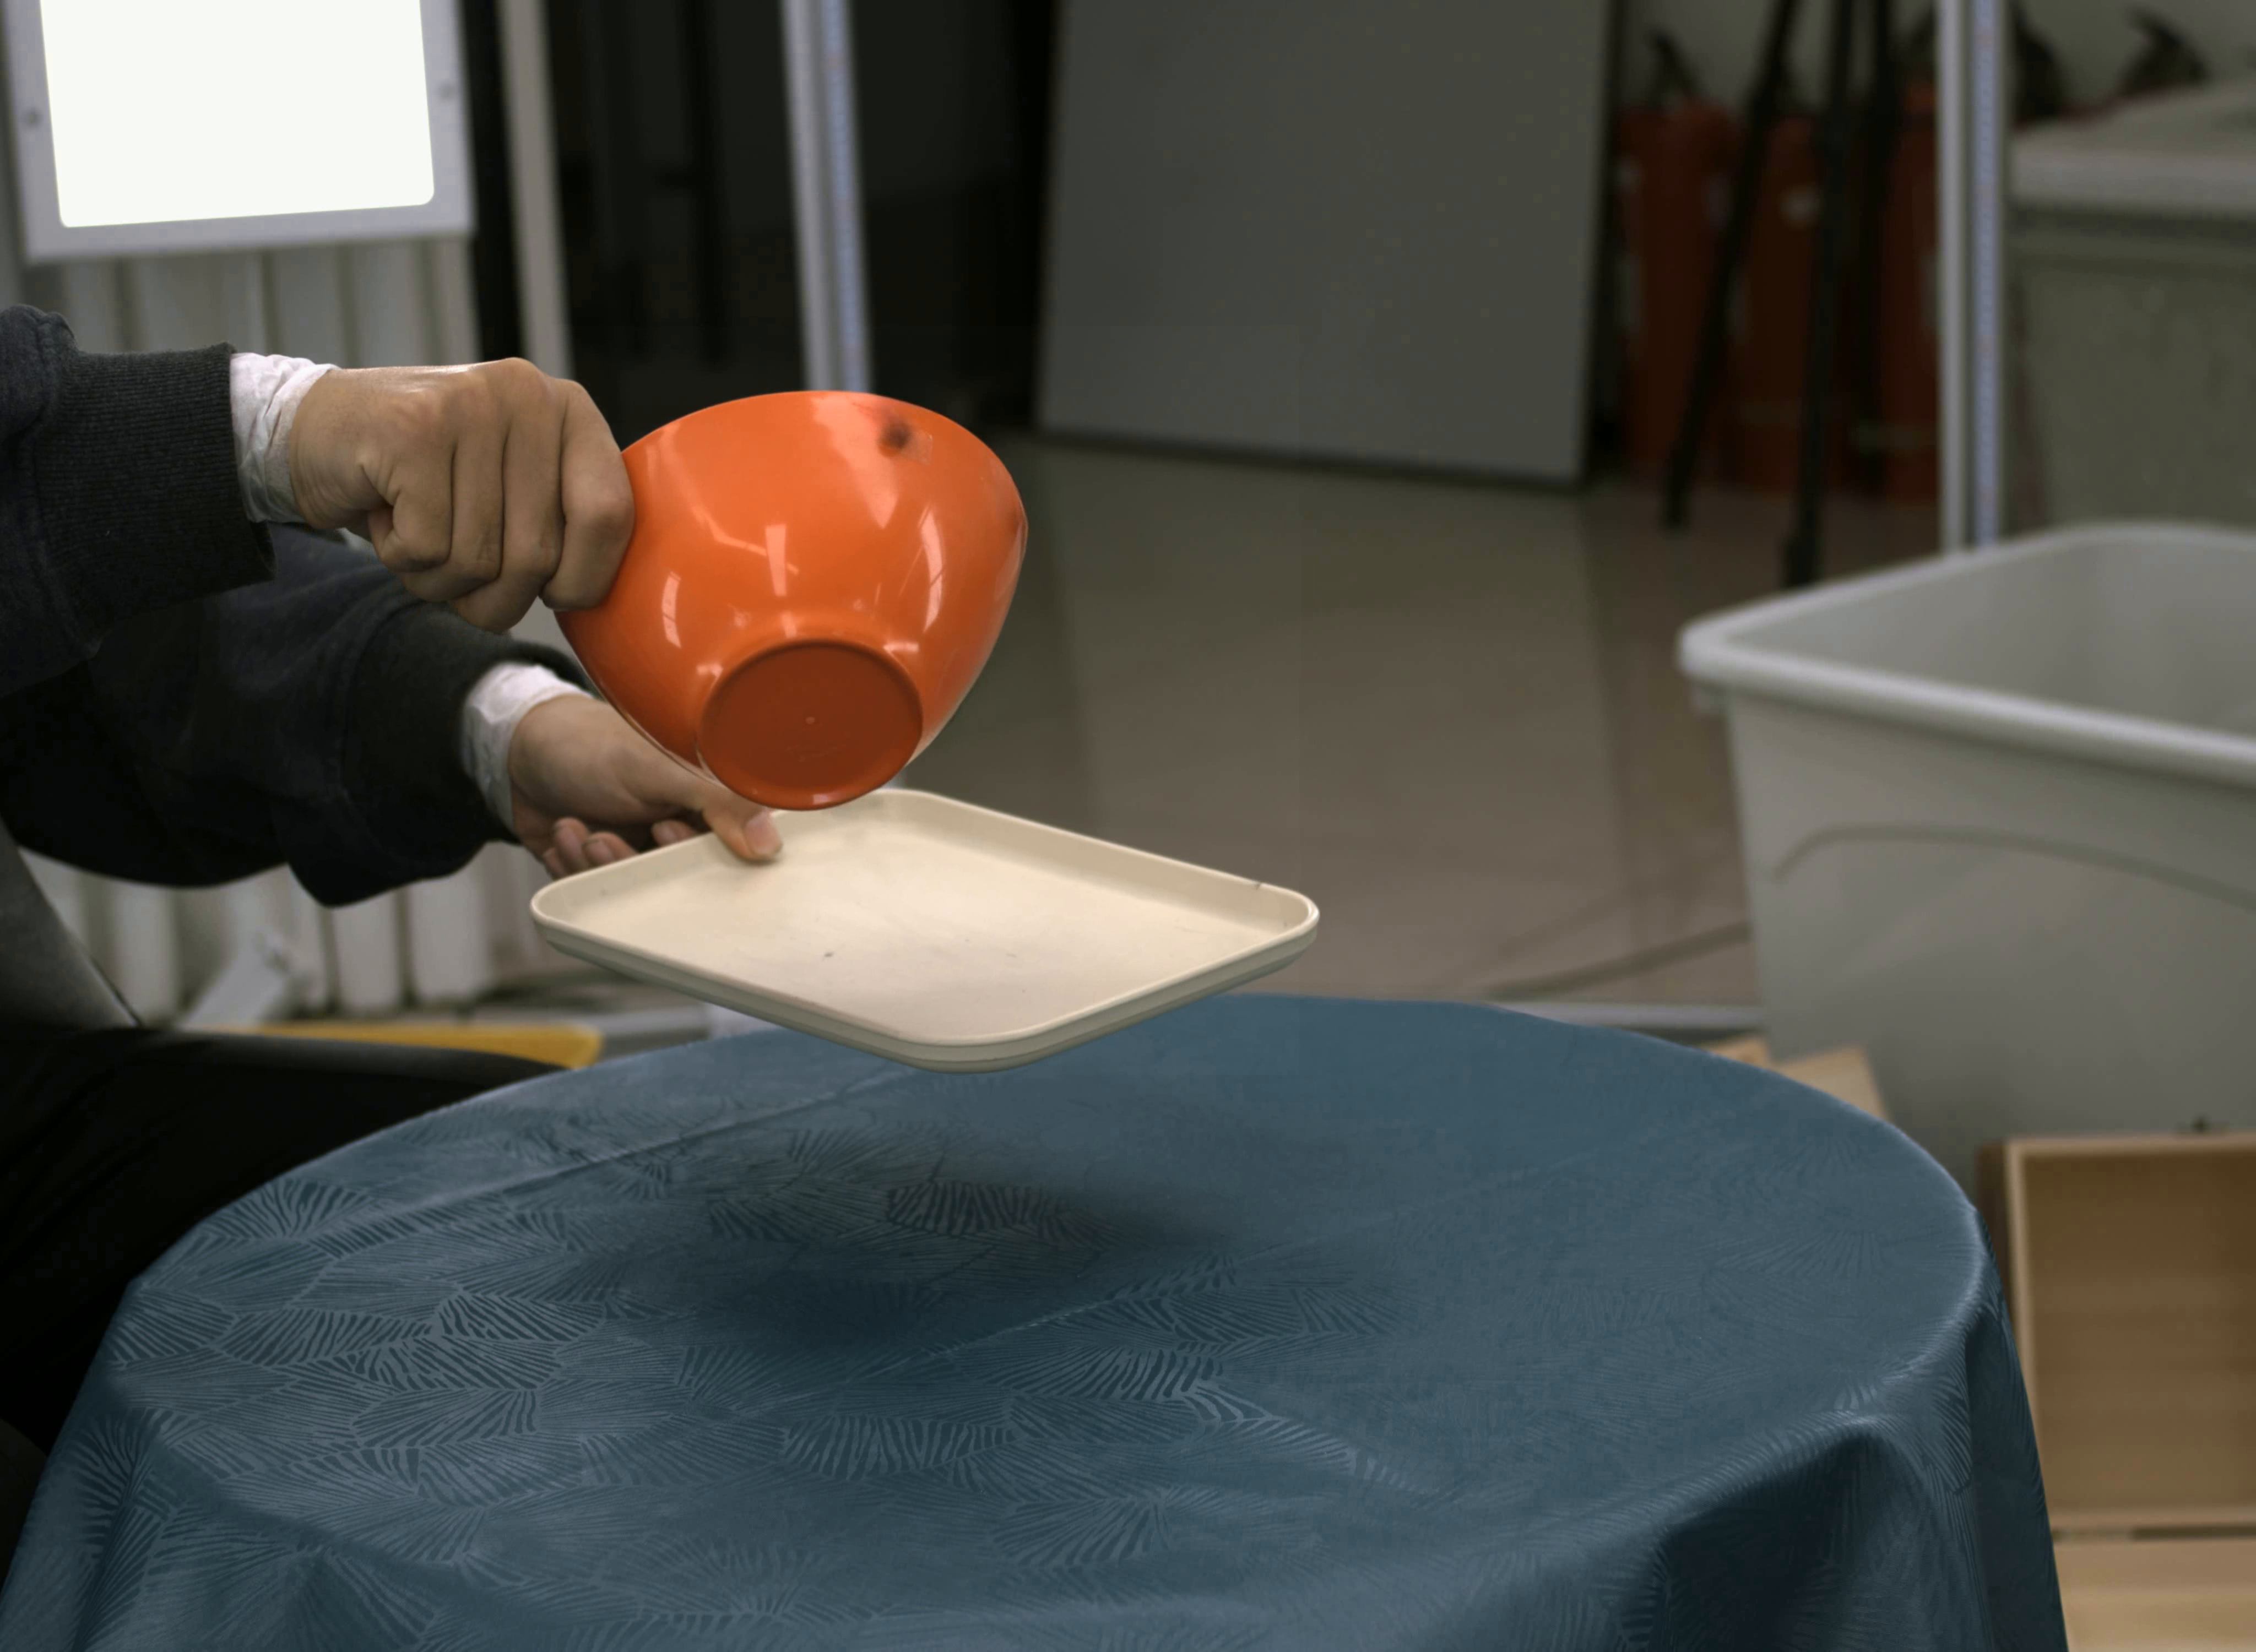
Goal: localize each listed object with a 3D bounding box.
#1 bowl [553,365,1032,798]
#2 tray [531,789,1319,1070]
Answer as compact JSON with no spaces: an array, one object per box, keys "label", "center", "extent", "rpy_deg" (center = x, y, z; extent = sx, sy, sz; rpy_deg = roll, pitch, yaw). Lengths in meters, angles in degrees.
[{"label":"bowl","center":[-0.096,-0.058,1.605],"extent":[0.146,0.149,0.105],"rpy_deg":[-4,40,-5]},{"label":"tray","center":[-0.067,0.032,1.745],"extent":[0.168,0.017,0.242],"rpy_deg":[-19,22,-39]}]
